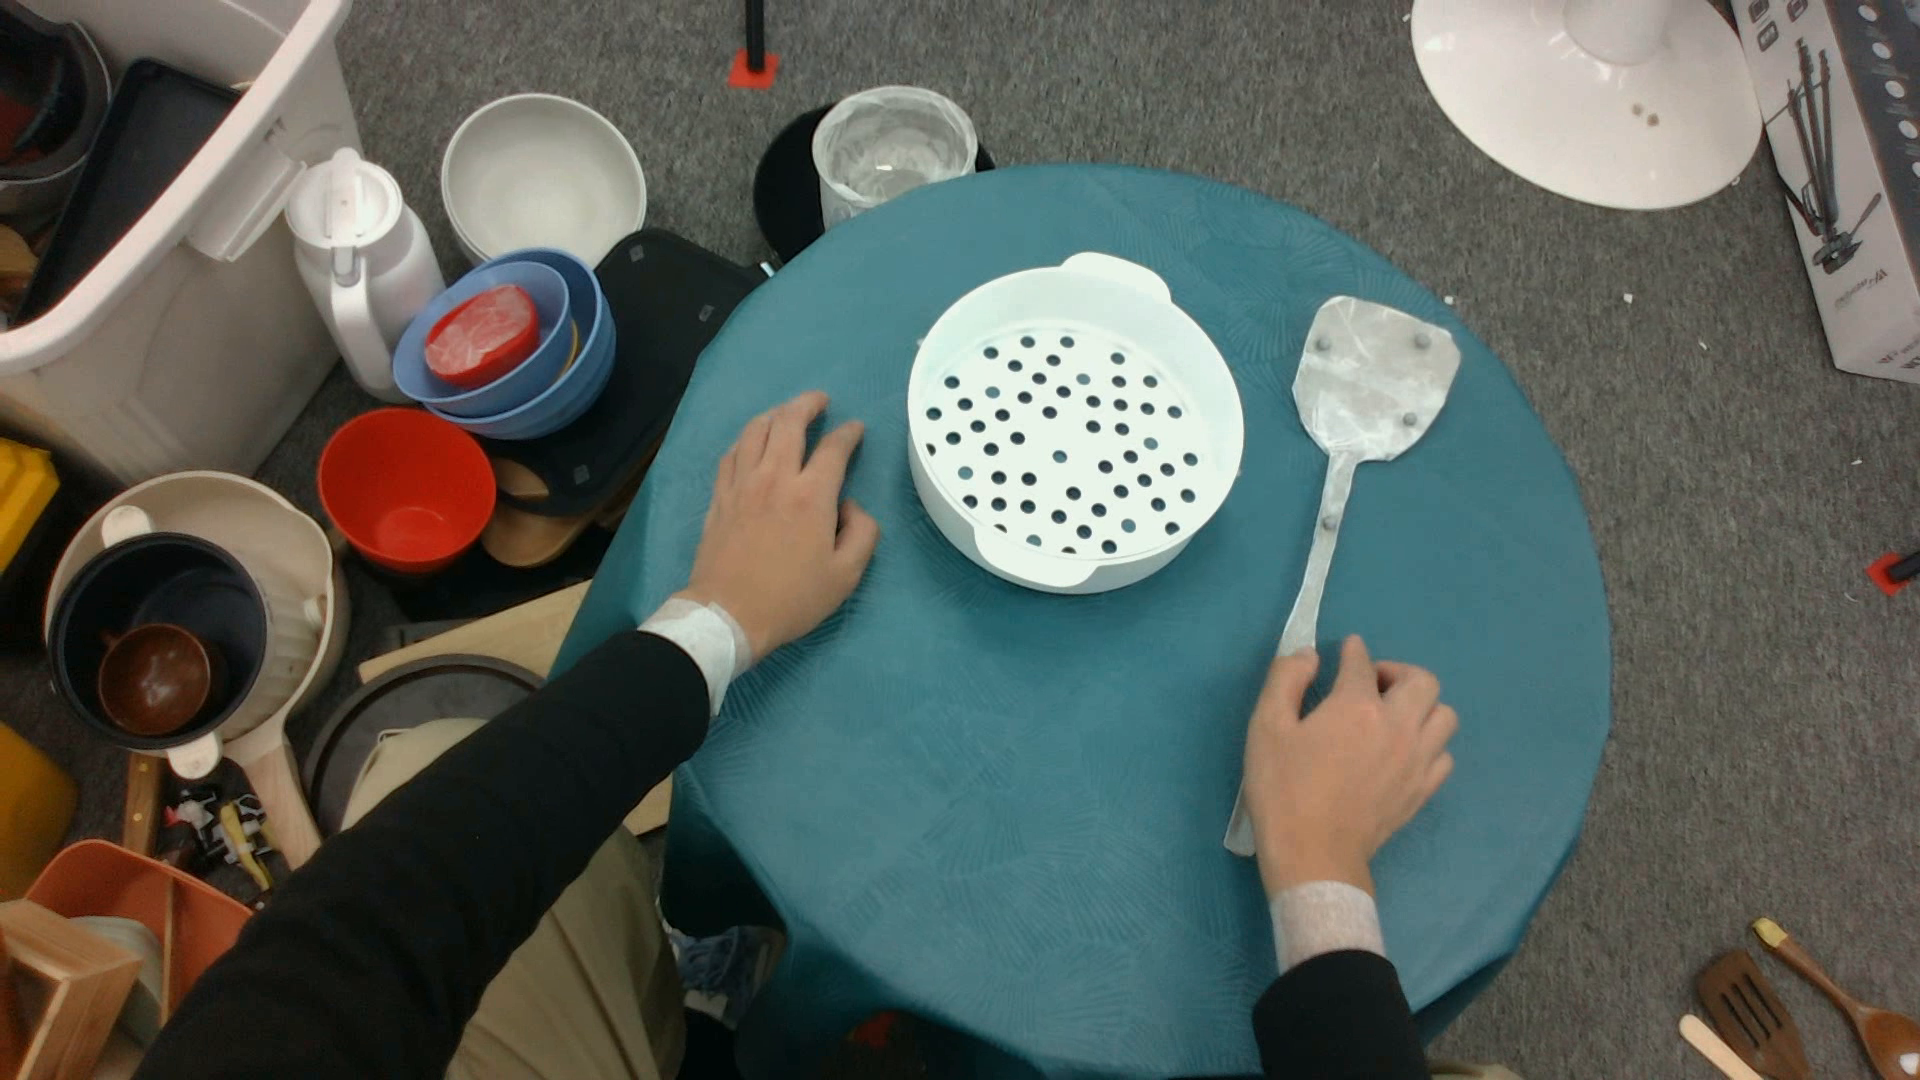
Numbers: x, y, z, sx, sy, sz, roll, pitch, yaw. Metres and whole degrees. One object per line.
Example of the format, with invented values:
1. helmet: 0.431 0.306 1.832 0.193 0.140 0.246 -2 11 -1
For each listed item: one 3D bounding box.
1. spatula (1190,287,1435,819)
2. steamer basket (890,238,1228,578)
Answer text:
1. spatula: 0.206 0.002 0.842 0.099 0.044 0.366 23 64 0
2. steamer basket: 0.056 -0.074 0.838 0.202 0.069 0.231 18 65 1
